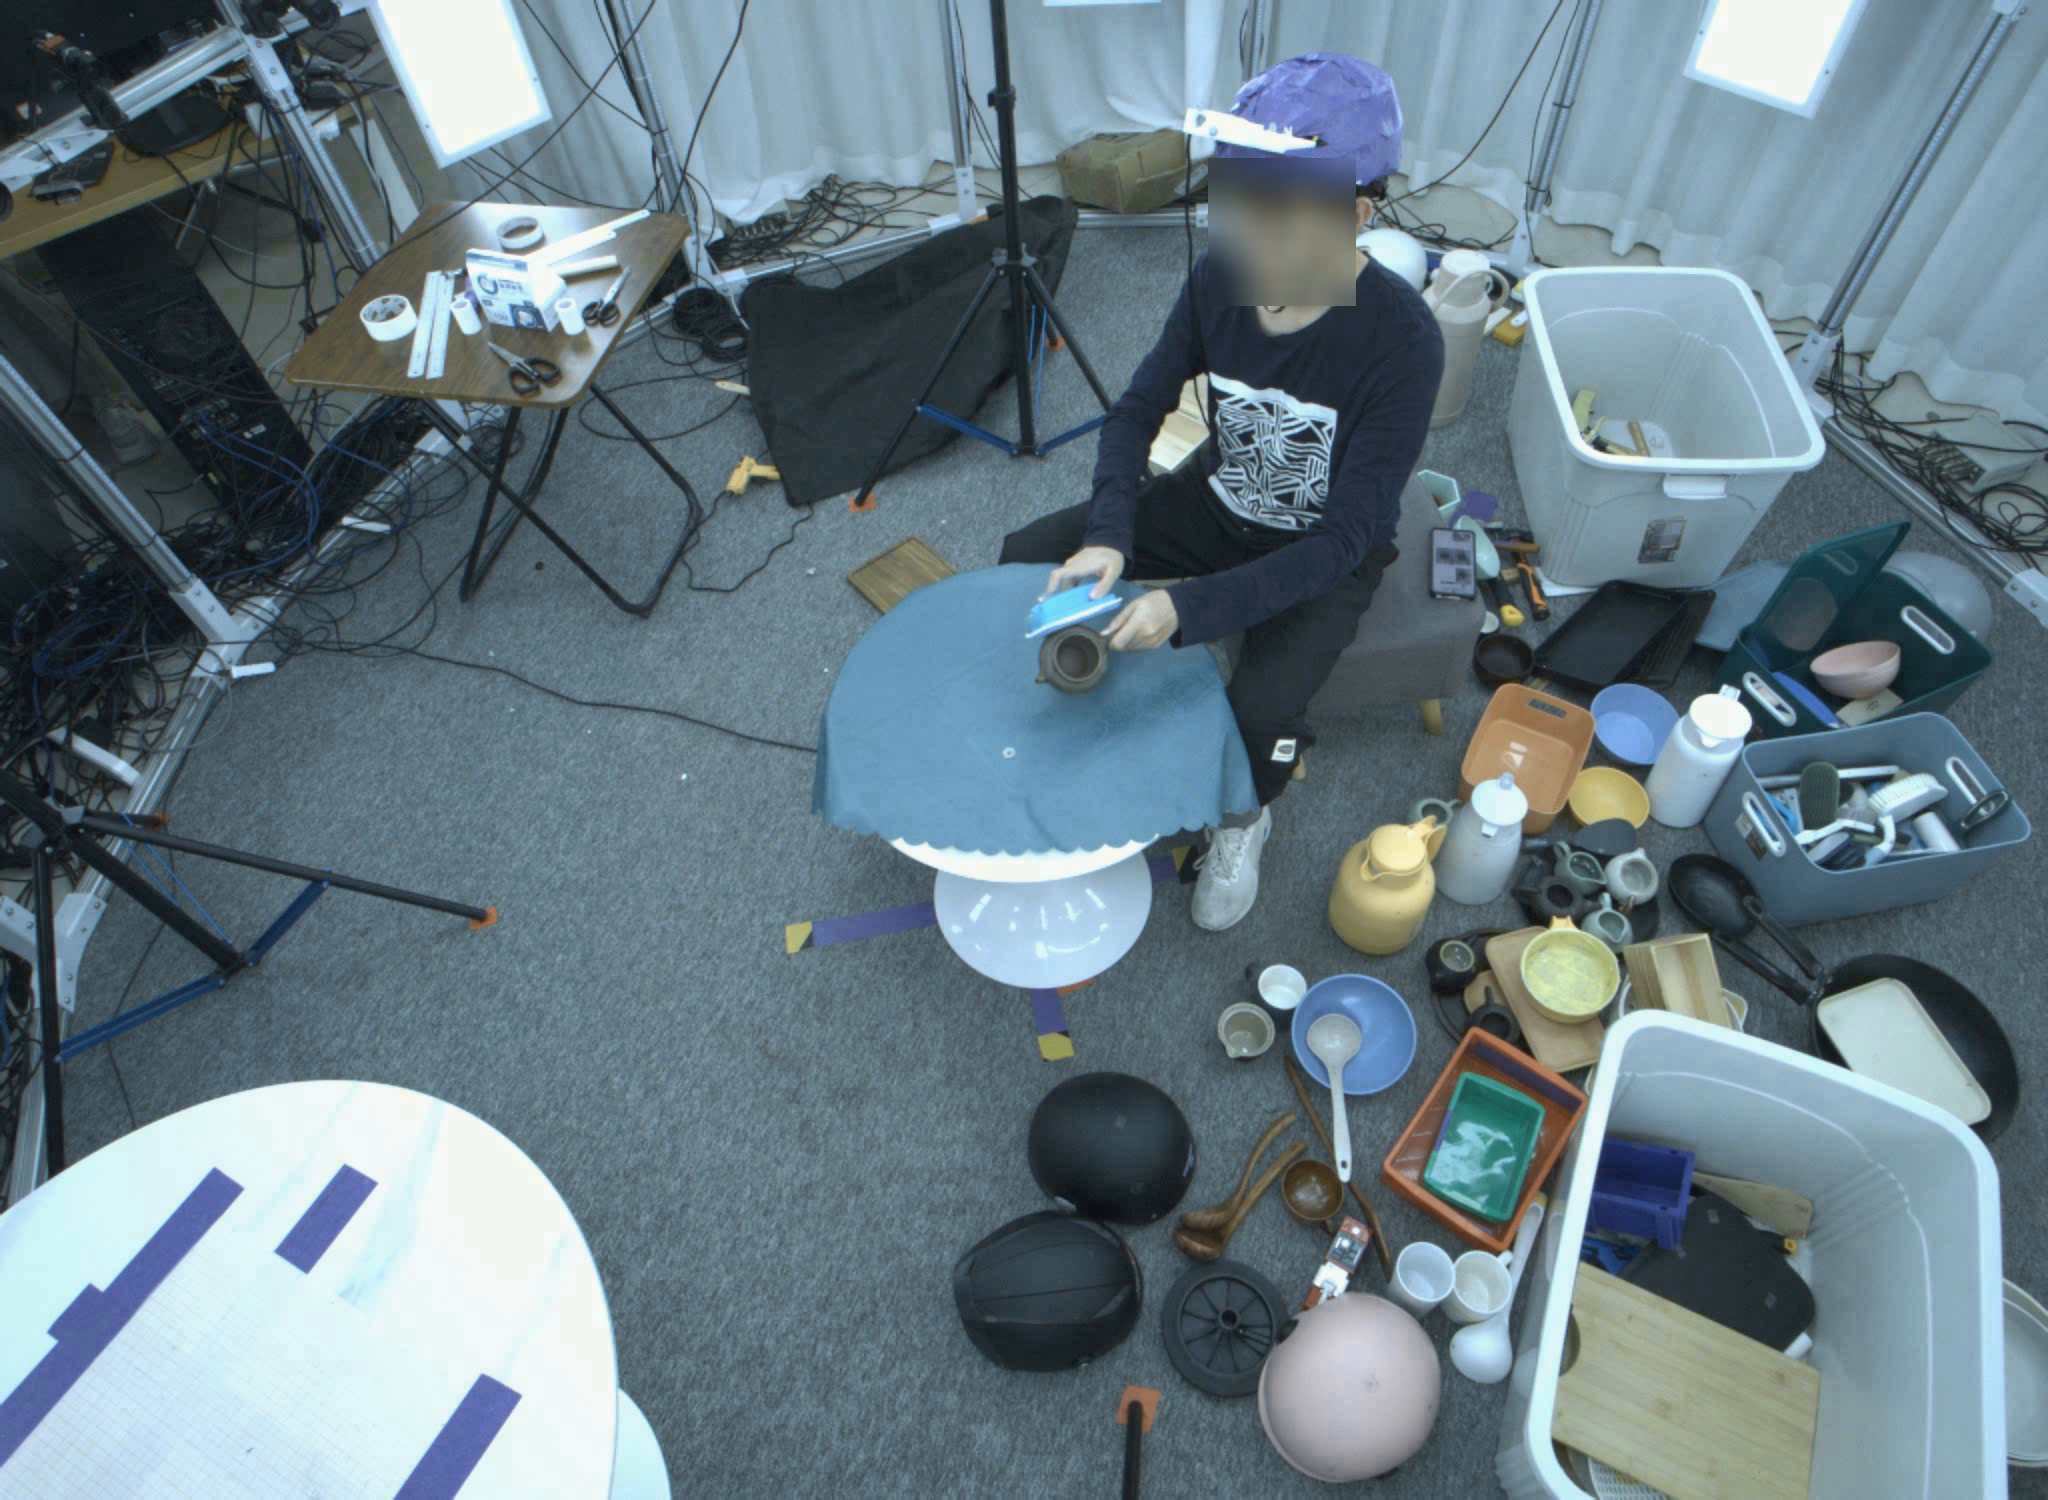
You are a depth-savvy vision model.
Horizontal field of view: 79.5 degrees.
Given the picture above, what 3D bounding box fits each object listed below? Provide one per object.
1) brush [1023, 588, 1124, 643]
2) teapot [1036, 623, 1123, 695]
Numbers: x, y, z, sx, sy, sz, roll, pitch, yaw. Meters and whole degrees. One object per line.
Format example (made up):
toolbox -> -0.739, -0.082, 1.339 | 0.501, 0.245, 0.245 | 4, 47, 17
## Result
brush -> 0.068, -0.196, 1.774 | 0.145, 0.082, 0.056 | -23, 101, -23
teapot -> 0.076, -0.132, 1.746 | 0.154, 0.053, 0.103 | -36, 96, -12
